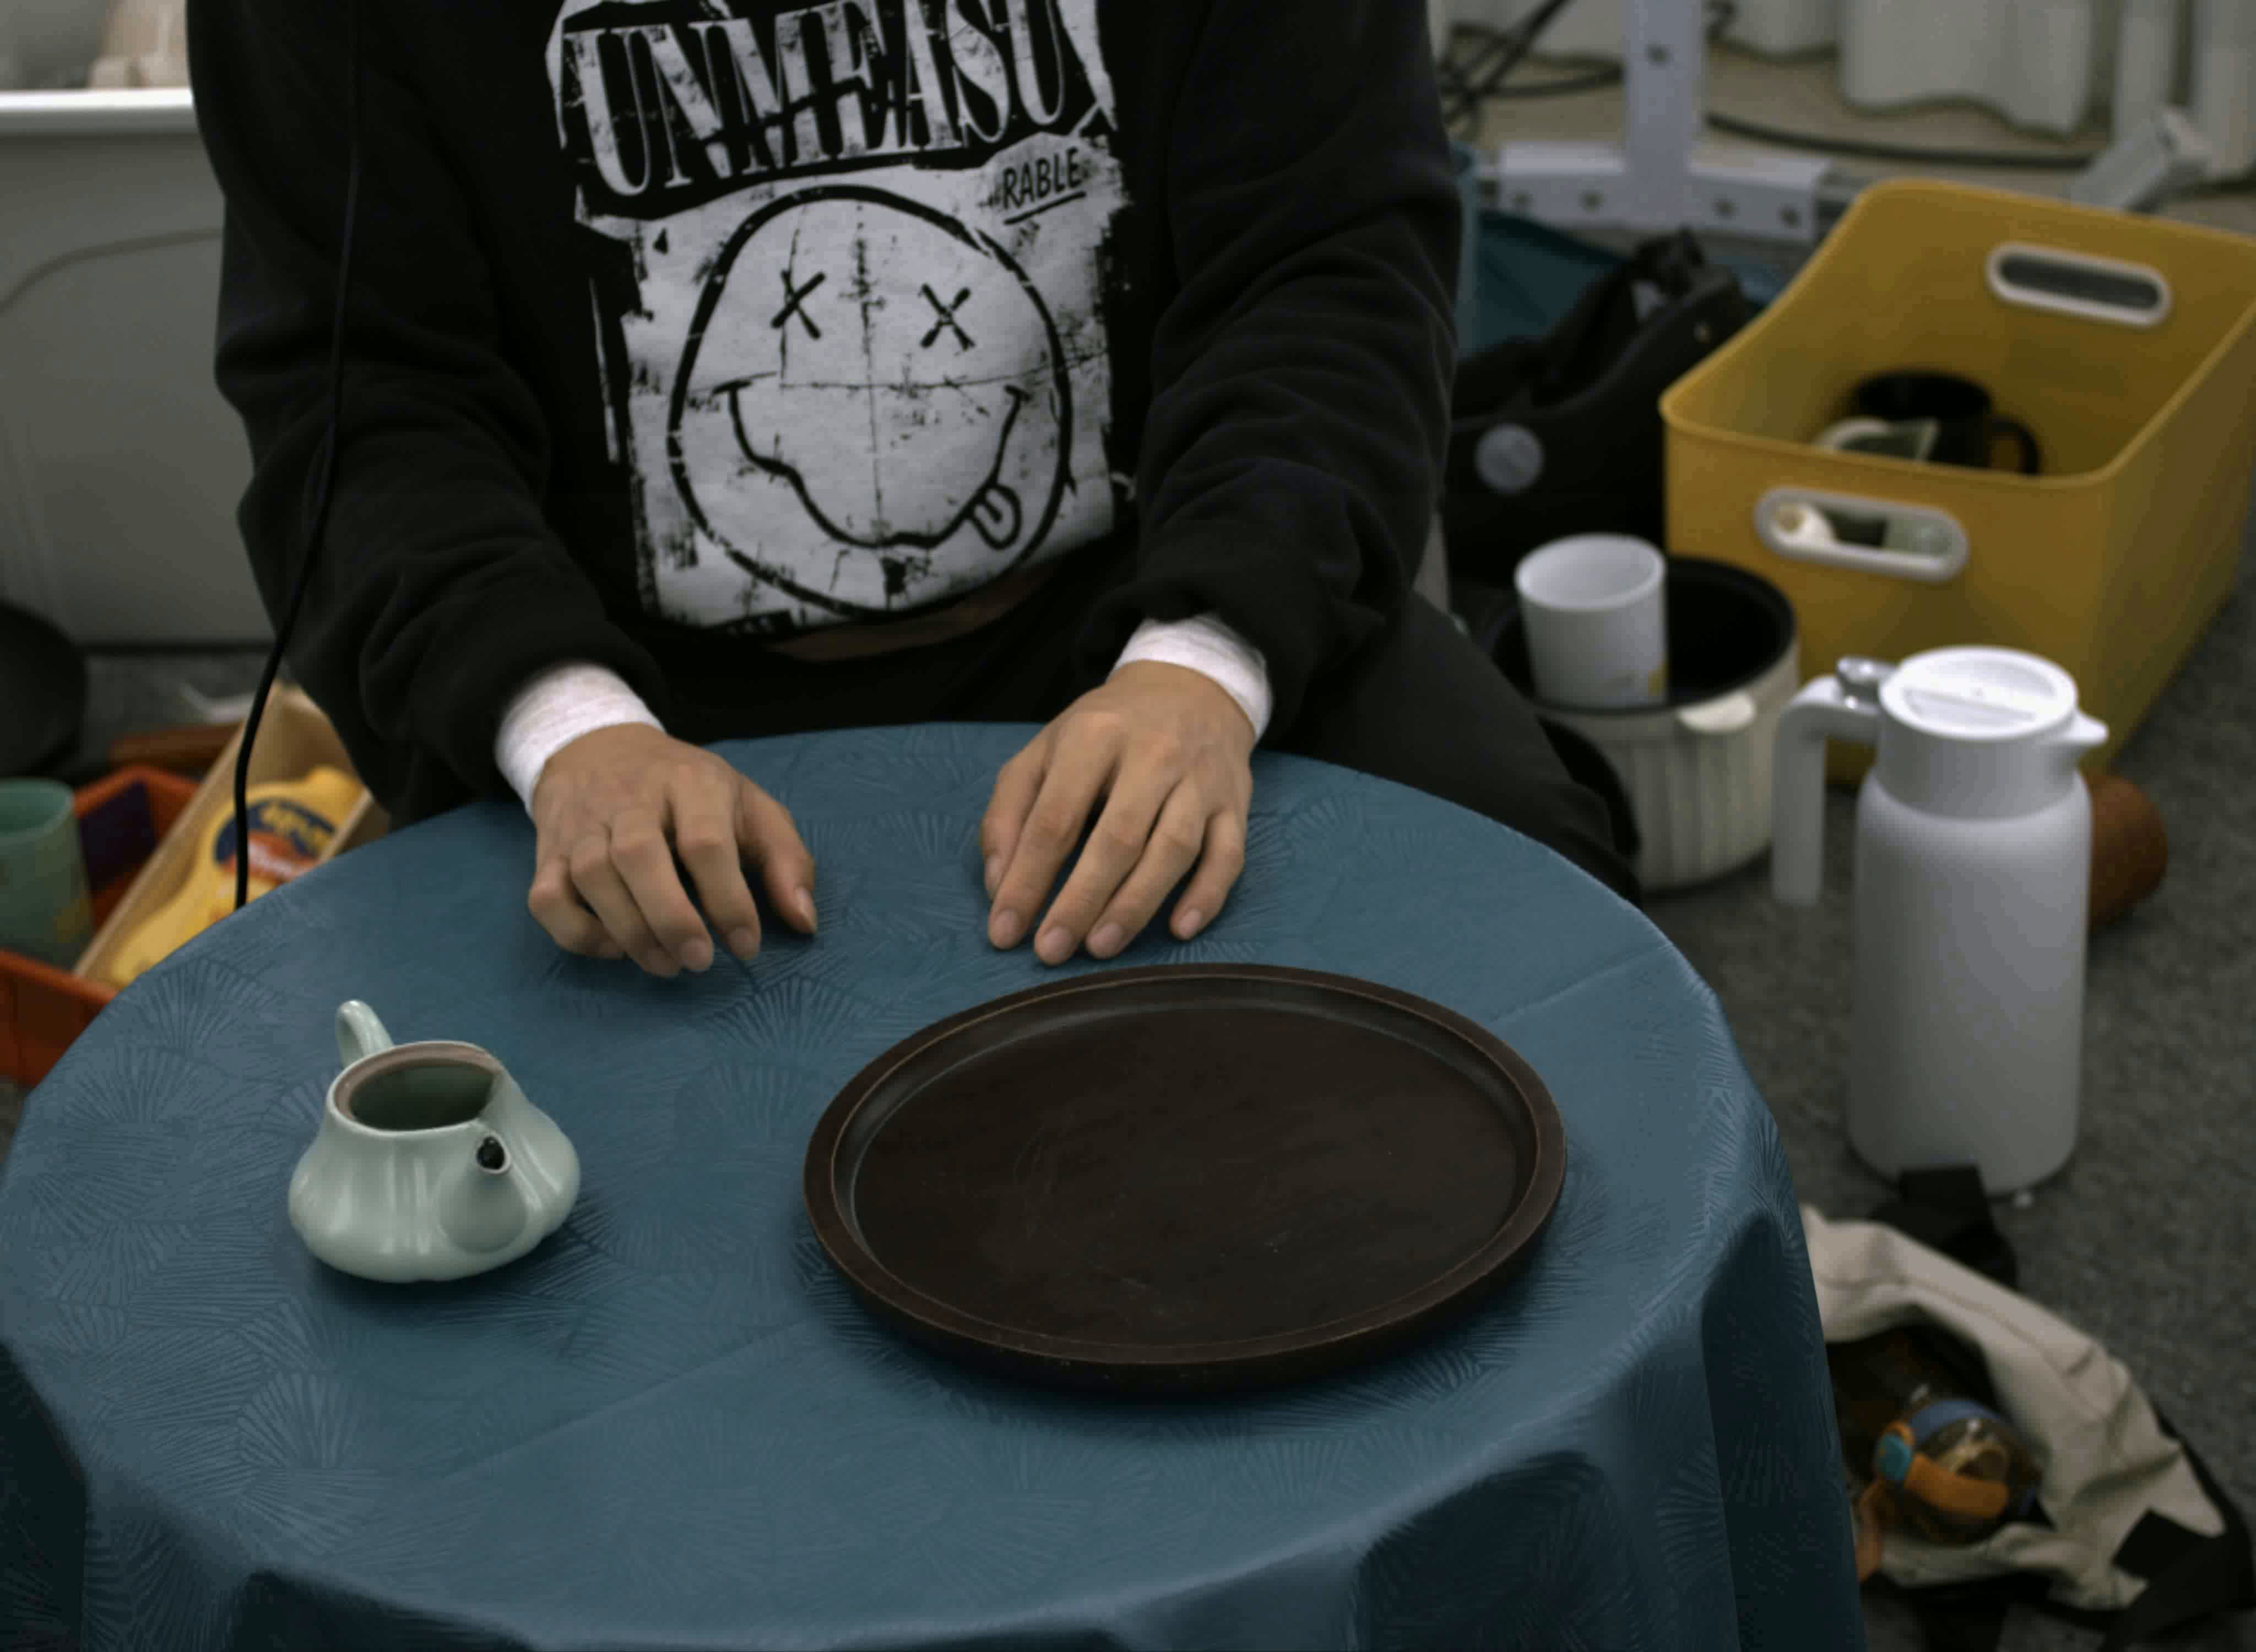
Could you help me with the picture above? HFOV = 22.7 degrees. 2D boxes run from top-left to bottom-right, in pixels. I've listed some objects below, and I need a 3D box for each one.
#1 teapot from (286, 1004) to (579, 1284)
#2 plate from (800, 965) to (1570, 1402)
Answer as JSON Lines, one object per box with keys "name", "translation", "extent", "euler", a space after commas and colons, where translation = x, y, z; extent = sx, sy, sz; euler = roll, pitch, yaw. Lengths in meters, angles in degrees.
{"name": "teapot", "translation": [-0.232, 0.107, 1.845], "extent": [0.097, 0.061, 0.137], "euler": [-19, 31, -27]}
{"name": "plate", "translation": [0.019, 0.115, 1.843], "extent": [0.253, 0.029, 0.259], "euler": [-3, 28, 2]}
